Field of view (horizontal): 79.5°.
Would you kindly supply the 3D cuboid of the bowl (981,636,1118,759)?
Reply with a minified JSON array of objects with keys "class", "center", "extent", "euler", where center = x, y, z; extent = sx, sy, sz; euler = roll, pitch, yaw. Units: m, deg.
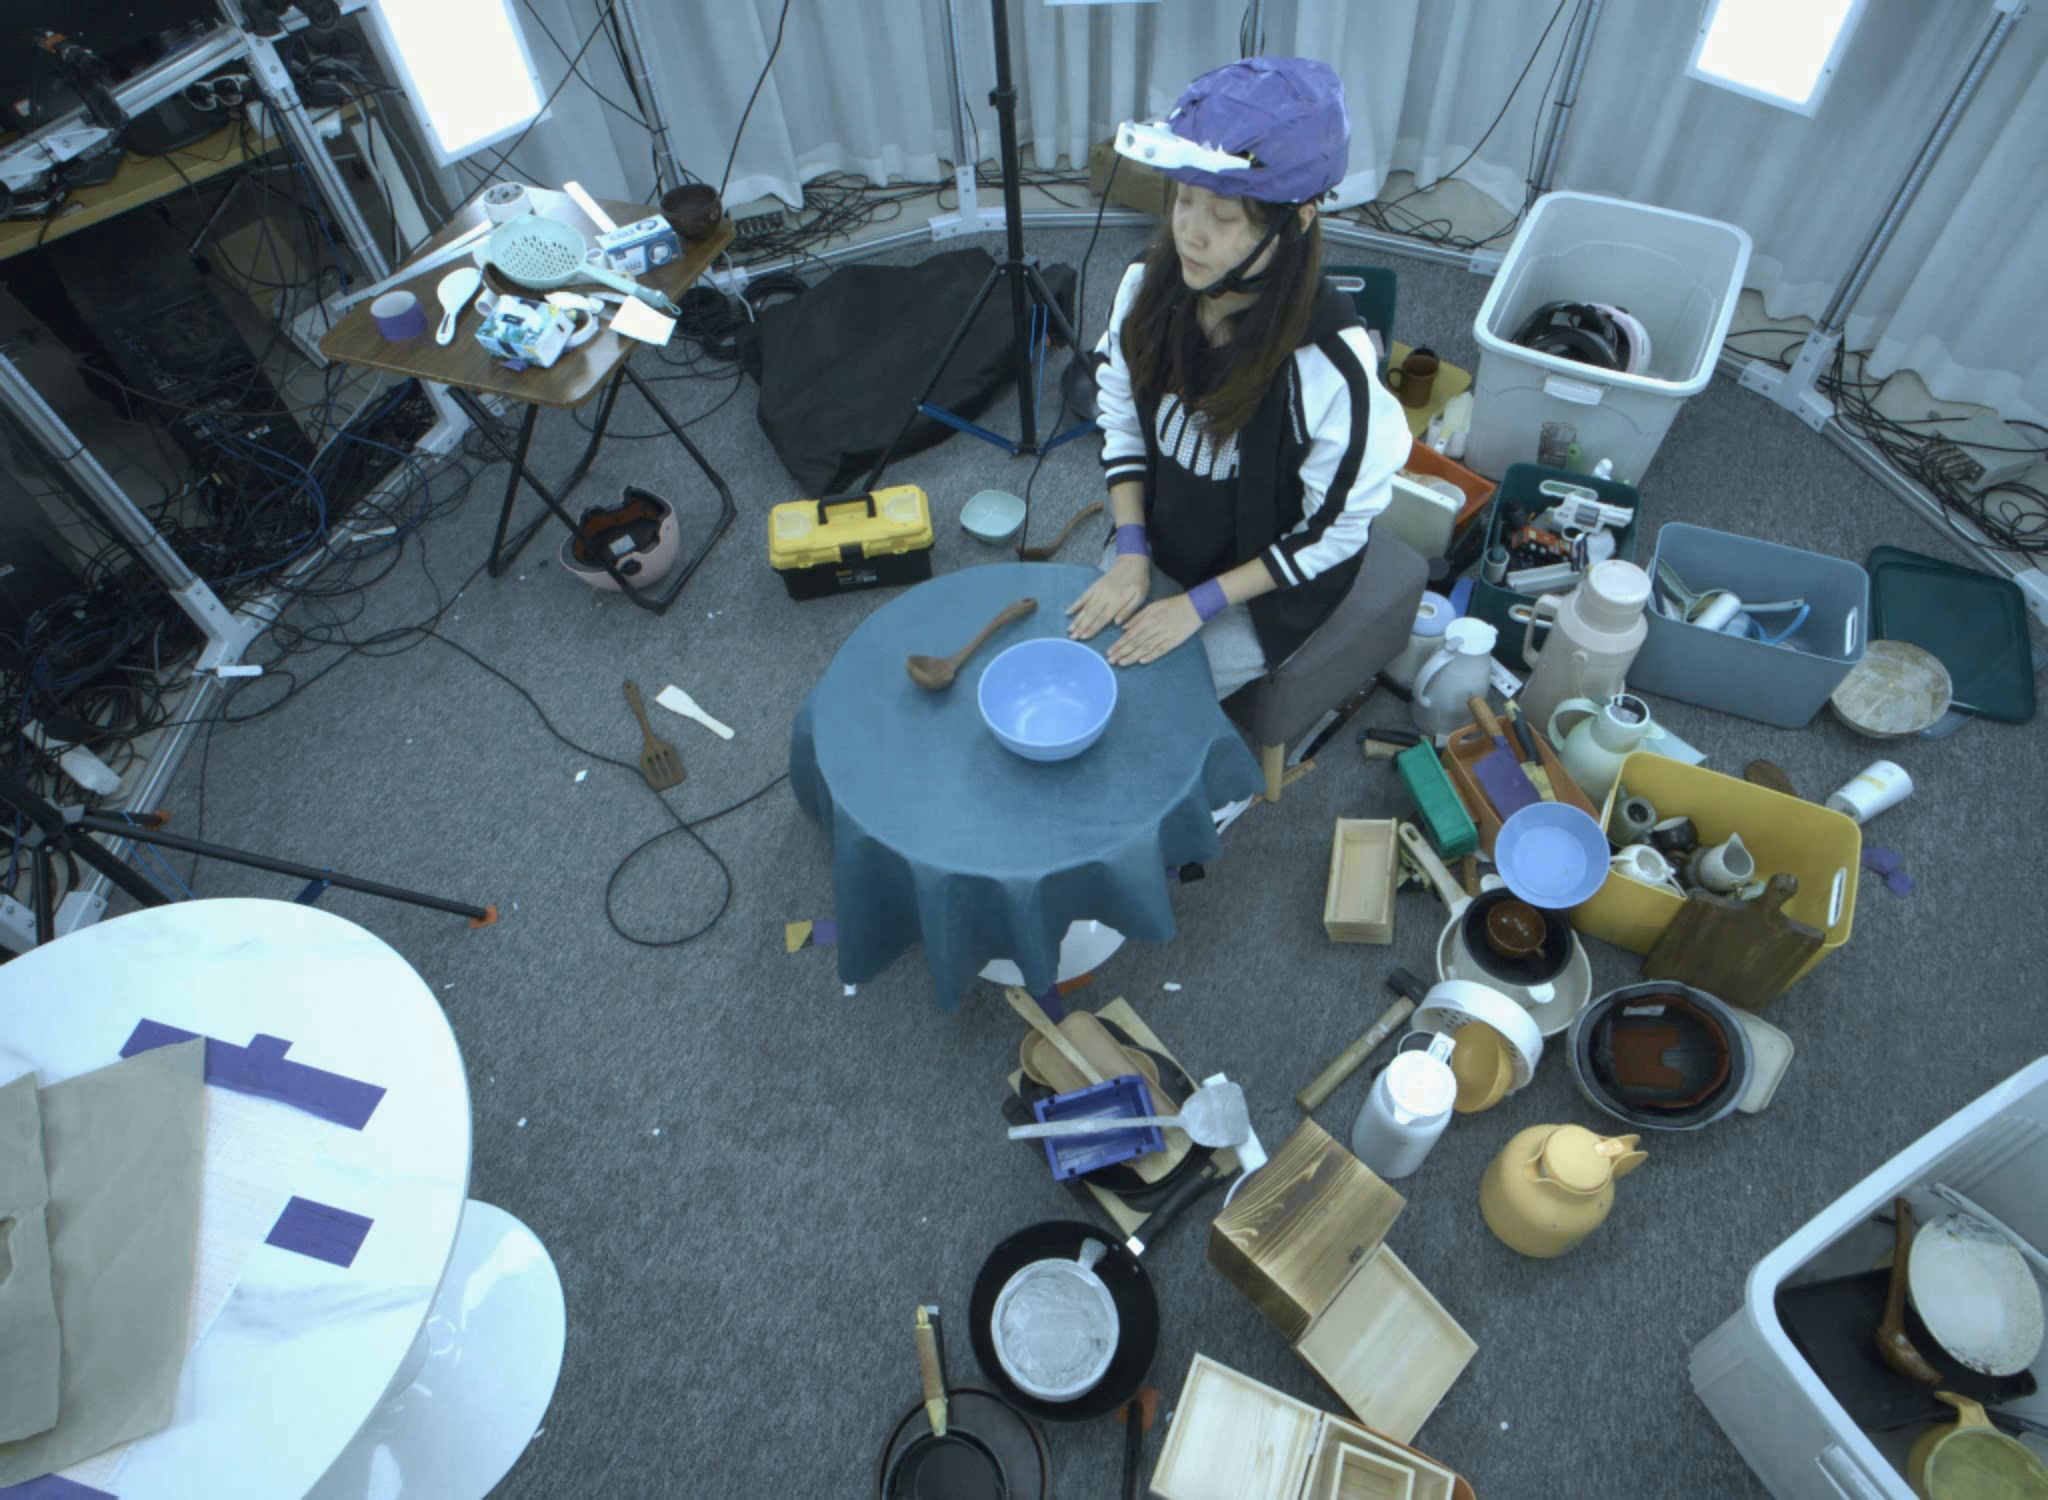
[{"class":"bowl","center":[0.043,-0.060,1.772],"extent":[0.195,0.097,0.194],"euler":[-4,53,7]}]

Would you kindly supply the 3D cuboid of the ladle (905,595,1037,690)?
[{"class":"ladle","center":[-0.075,-0.177,1.877],"extent":[0.075,0.065,0.262],"euler":[41,65,20]}]
